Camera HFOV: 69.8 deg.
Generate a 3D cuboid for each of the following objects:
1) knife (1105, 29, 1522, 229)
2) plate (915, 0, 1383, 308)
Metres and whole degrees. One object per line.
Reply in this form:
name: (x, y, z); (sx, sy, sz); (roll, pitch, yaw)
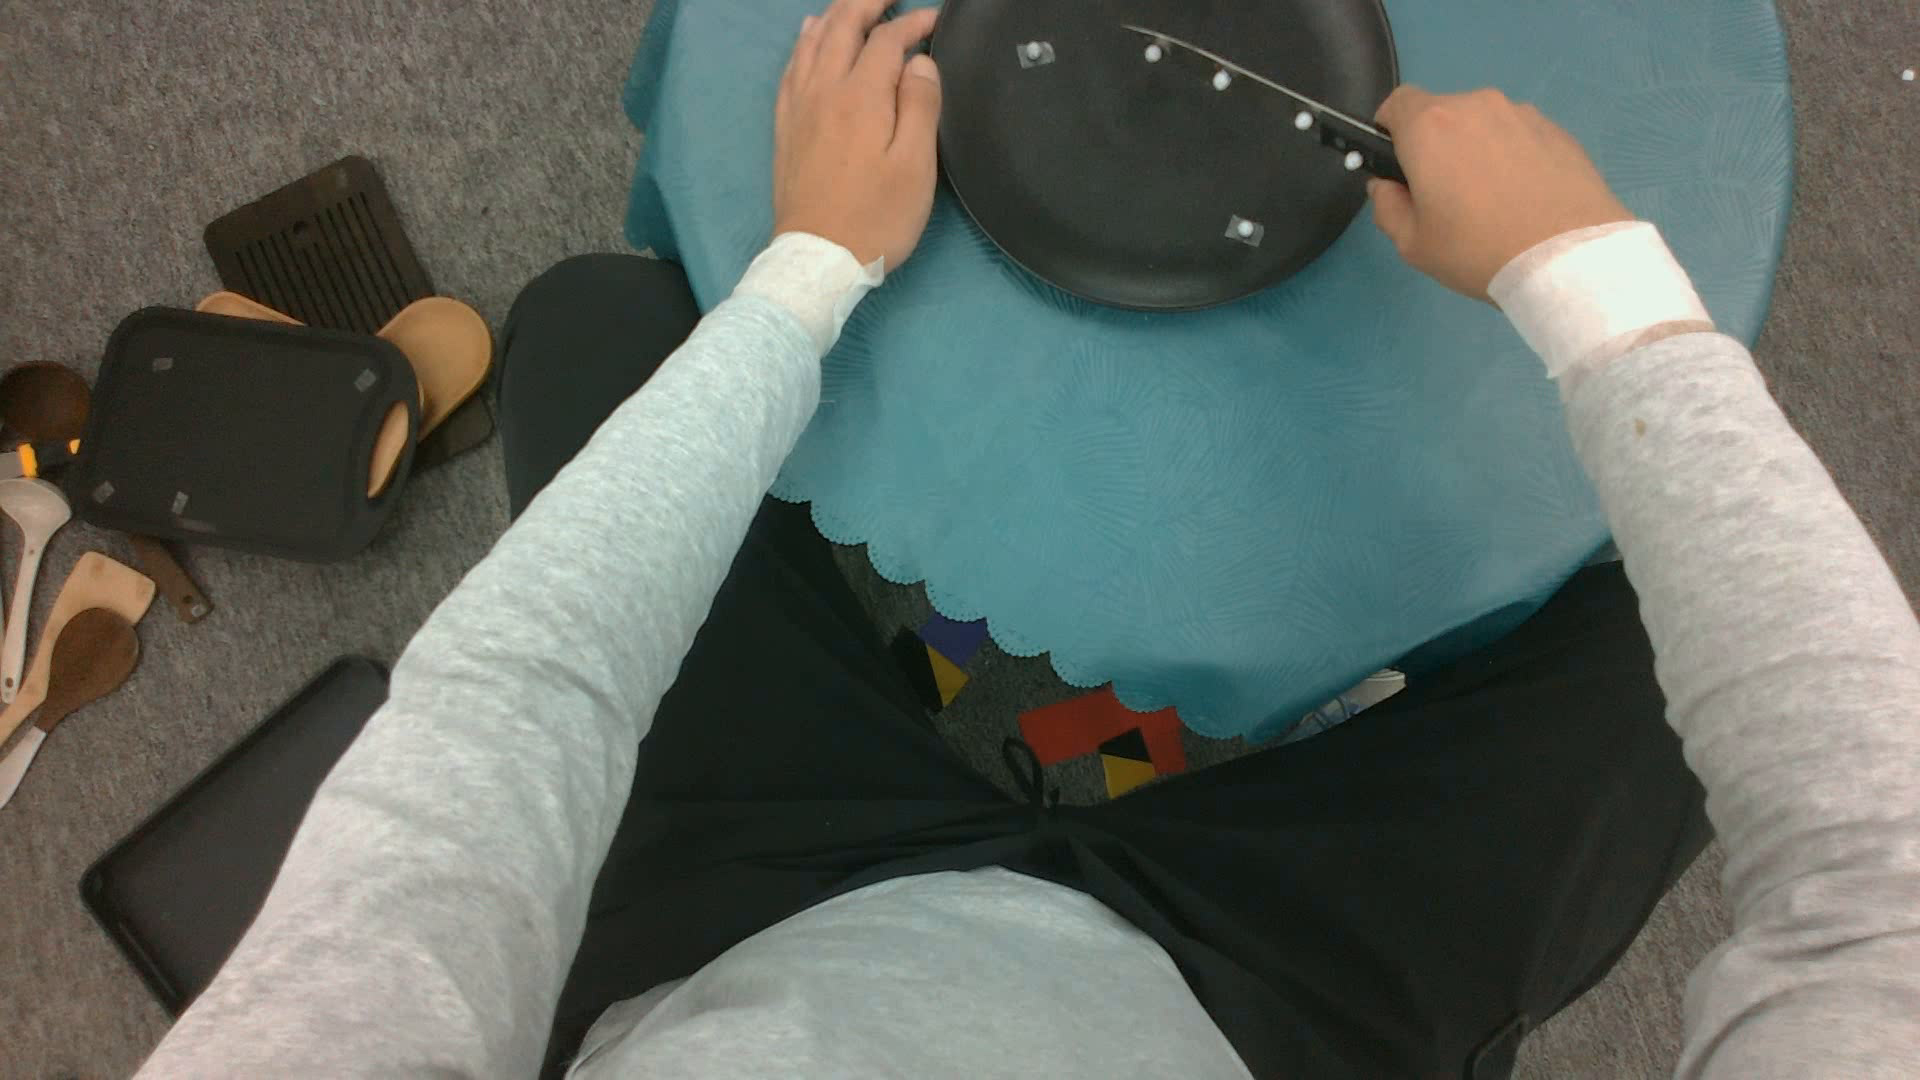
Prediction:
knife: (0.161, -0.206, 0.662); (0.238, 0.024, 0.016); (36, 80, 28)
plate: (0.098, -0.238, 0.724); (0.244, 0.023, 0.244); (0, 82, 0)
